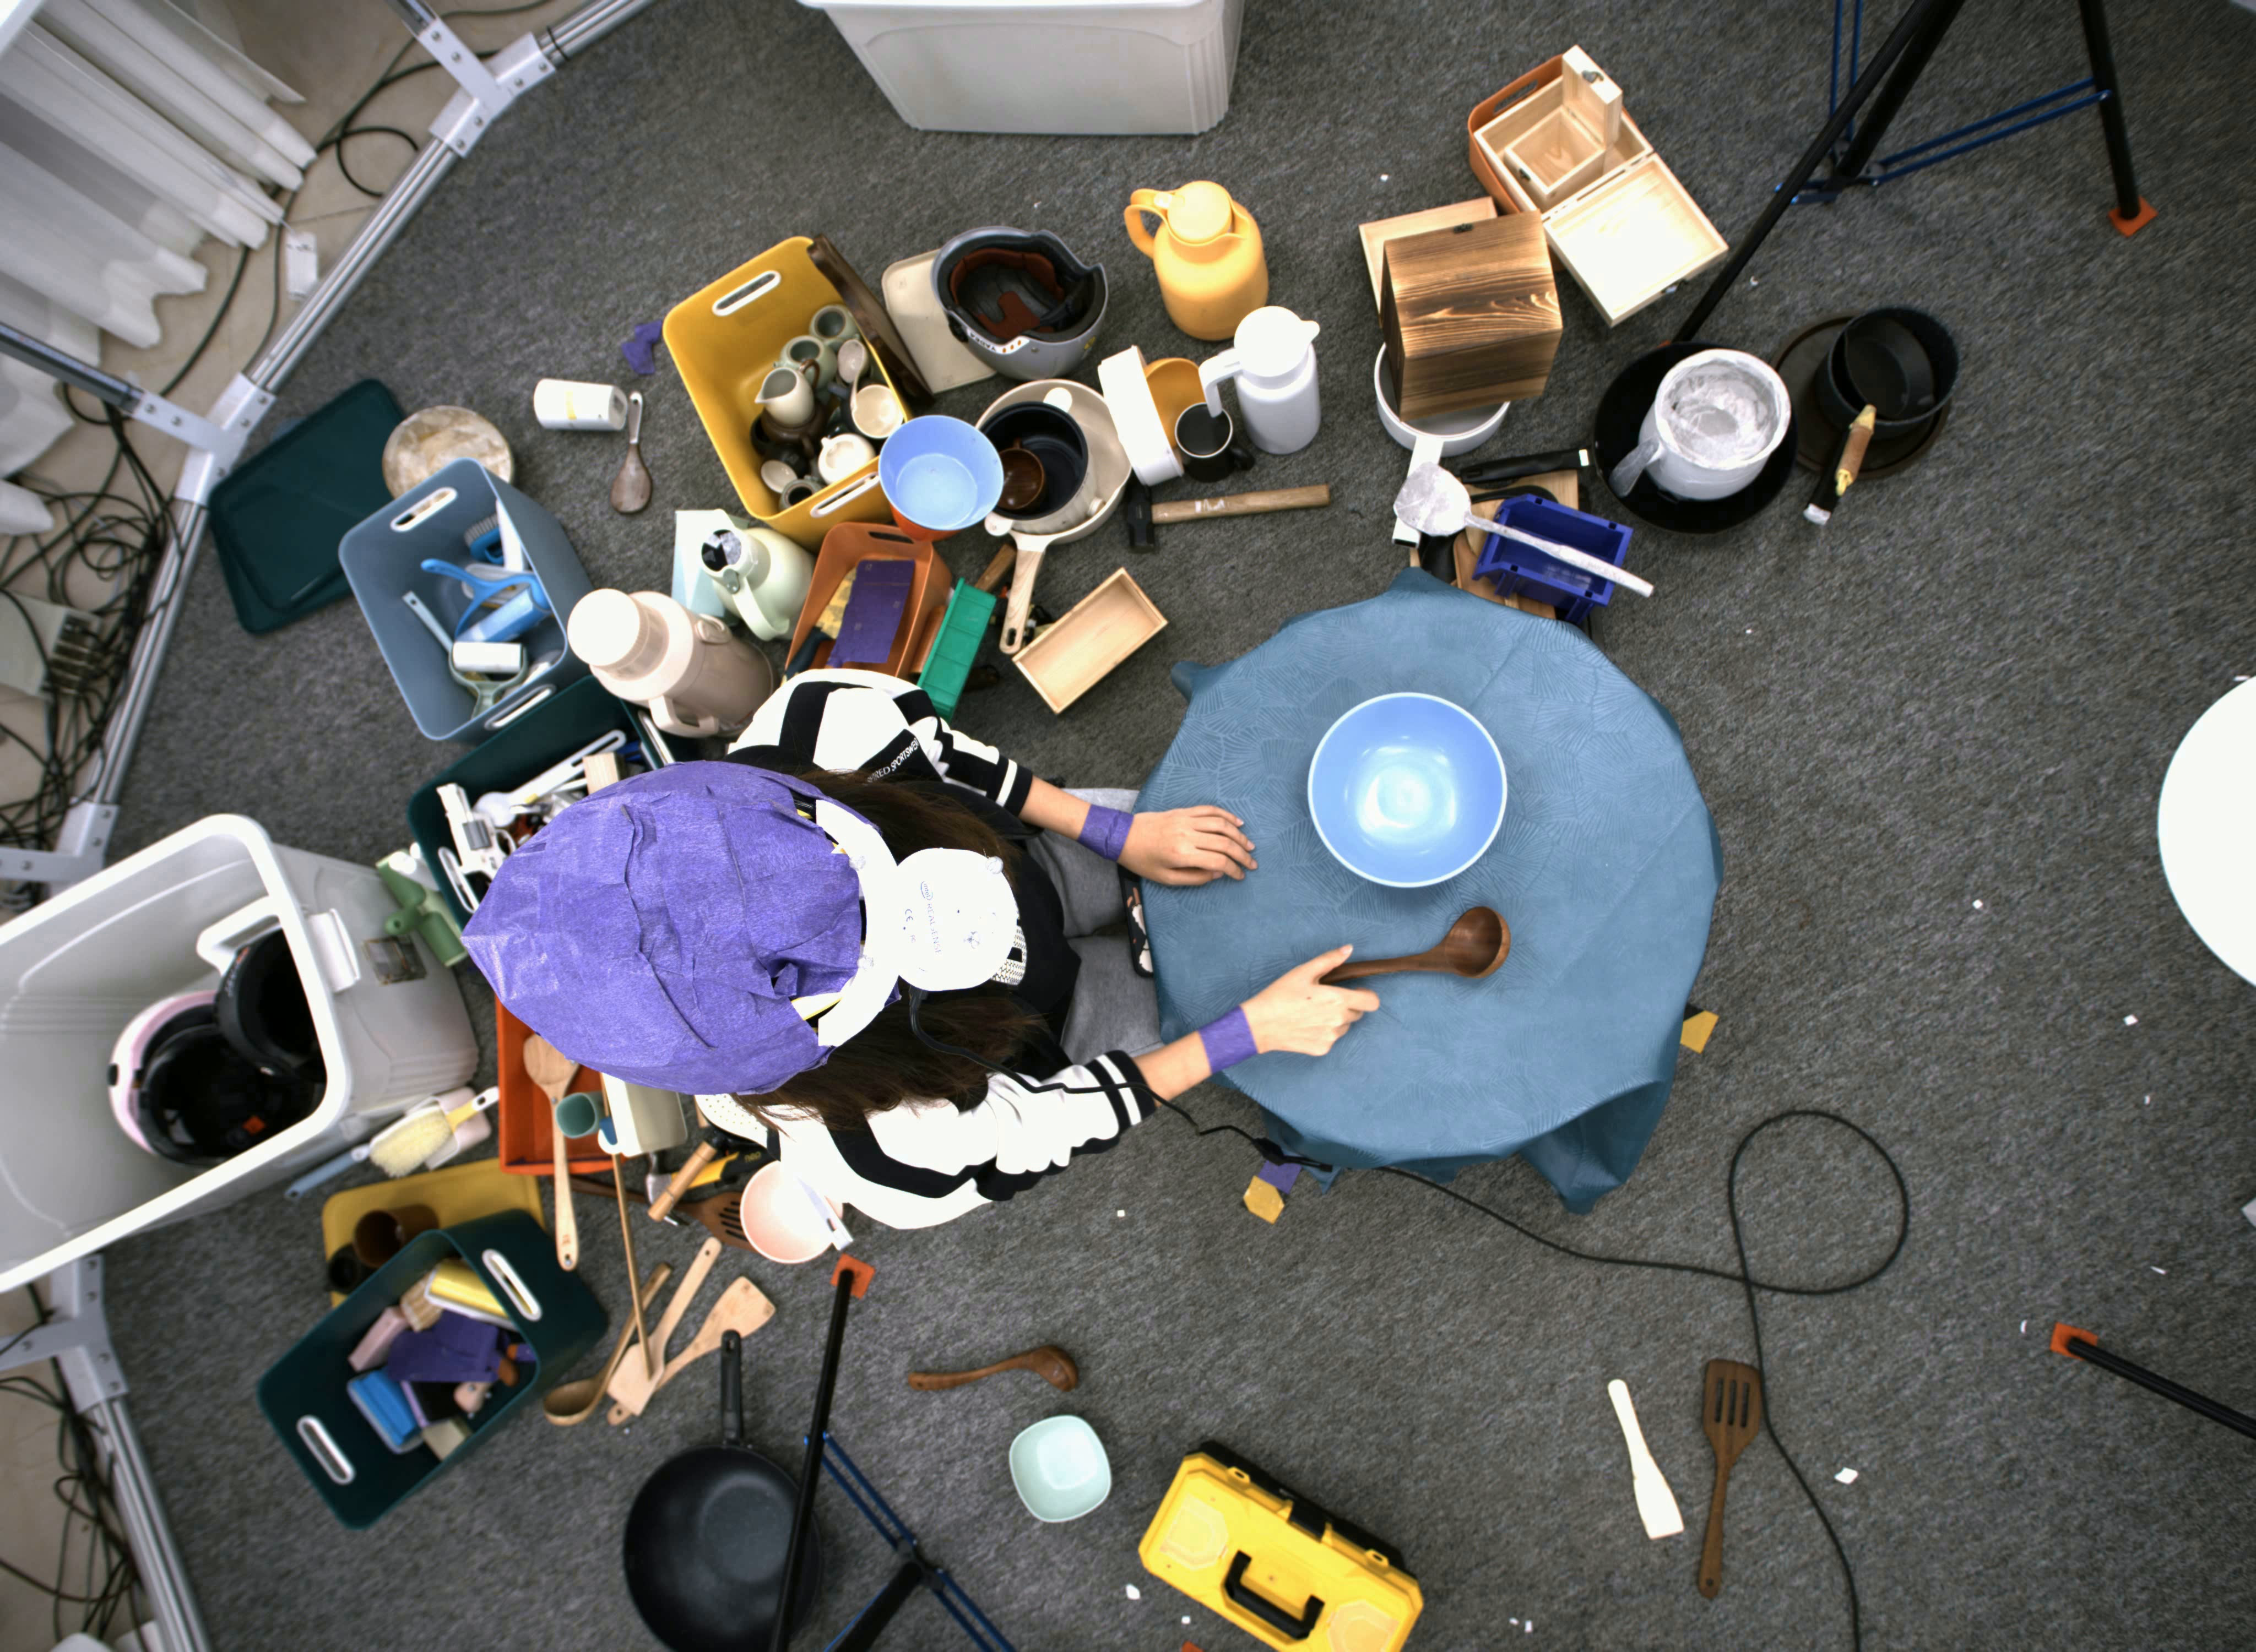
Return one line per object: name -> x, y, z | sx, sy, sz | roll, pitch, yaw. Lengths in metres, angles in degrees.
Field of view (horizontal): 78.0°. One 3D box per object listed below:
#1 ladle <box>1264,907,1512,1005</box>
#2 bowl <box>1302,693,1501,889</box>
ladle -> 0.264, 0.138, 1.427 | 0.261, 0.066, 0.074 | -11, 50, 10
bowl -> 0.277, -0.035, 1.417 | 0.197, 0.095, 0.196 | 0, 91, 6
